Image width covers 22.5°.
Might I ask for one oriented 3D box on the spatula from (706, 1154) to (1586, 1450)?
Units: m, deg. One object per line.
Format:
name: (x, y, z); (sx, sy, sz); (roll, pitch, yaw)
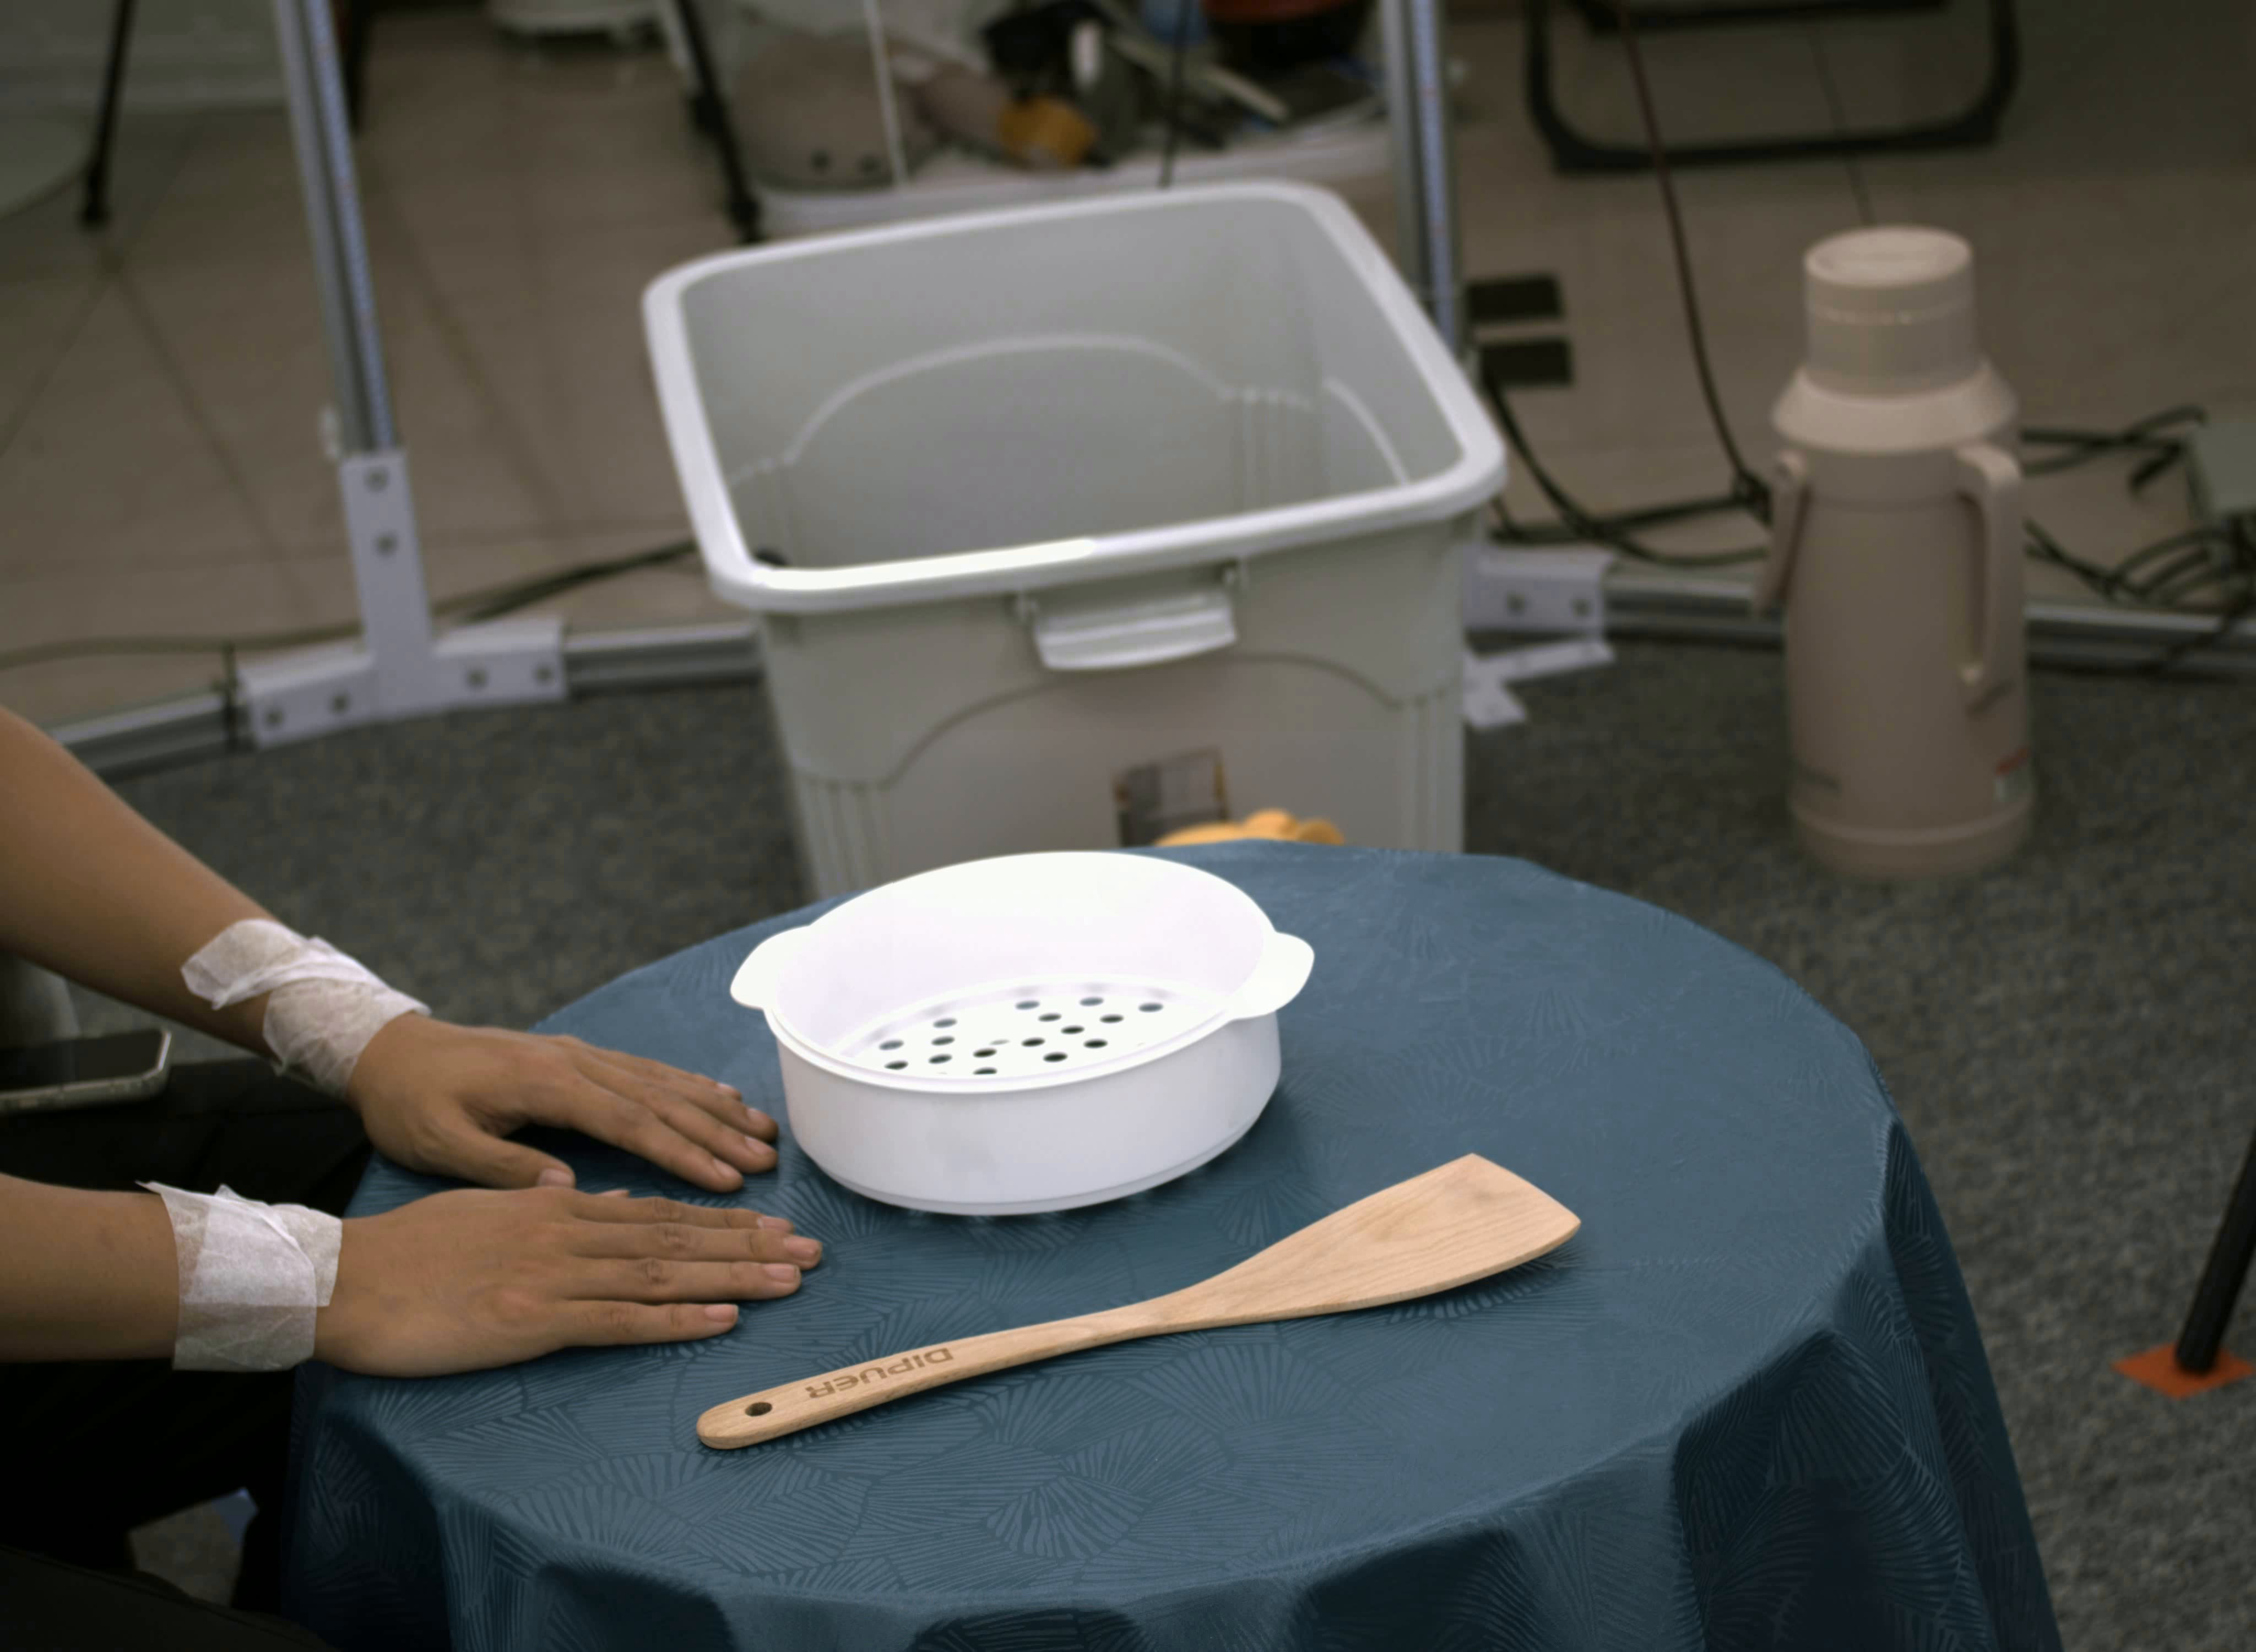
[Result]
spatula: (0.004, 0.174, 2.054); (0.326, 0.017, 0.079); (-14, 25, -14)

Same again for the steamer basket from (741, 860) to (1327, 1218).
steamer basket: (-0.034, 0.082, 2.202); (0.230, 0.070, 0.199); (1, 24, 16)
